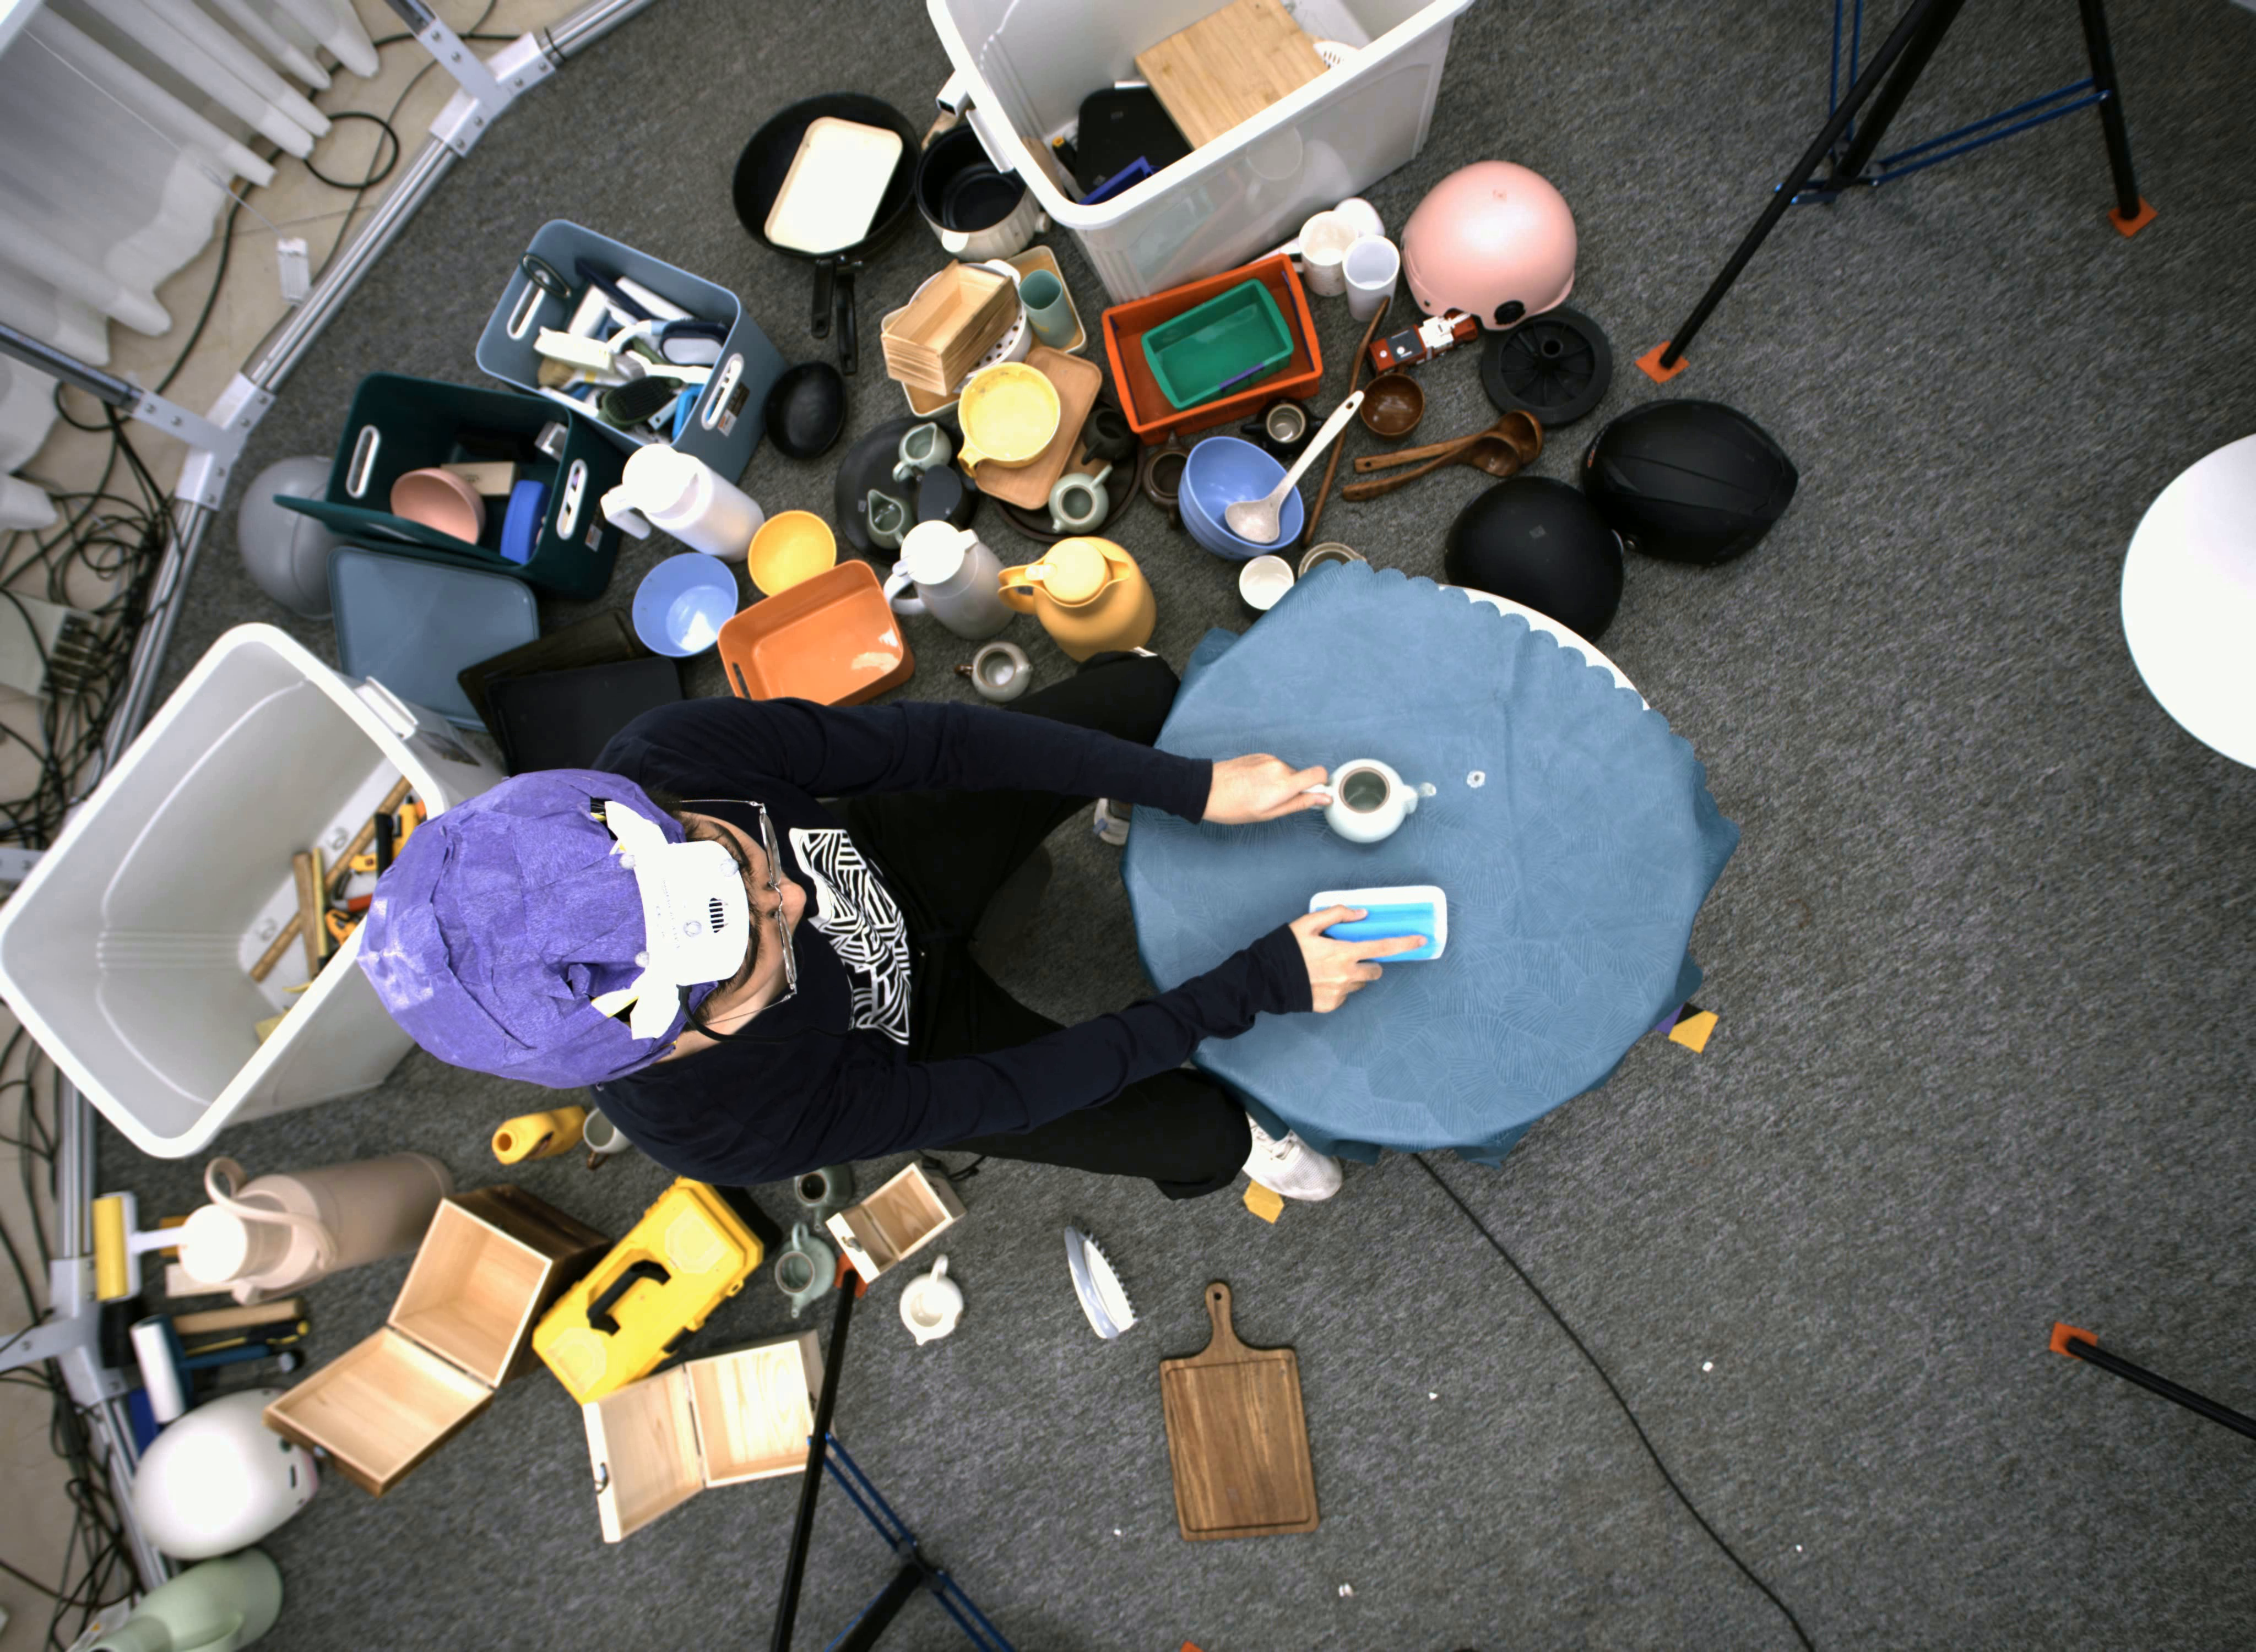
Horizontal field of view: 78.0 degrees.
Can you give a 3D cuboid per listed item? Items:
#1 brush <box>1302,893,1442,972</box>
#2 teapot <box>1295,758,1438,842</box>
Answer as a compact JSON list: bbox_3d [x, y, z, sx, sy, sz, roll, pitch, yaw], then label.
[{"bbox_3d":[0.251,0.112,1.415,0.144,0.055,0.085,-2,106,4],"label":"brush"},{"bbox_3d":[0.245,-0.028,1.428,0.144,0.075,0.087,4,76,7],"label":"teapot"}]
